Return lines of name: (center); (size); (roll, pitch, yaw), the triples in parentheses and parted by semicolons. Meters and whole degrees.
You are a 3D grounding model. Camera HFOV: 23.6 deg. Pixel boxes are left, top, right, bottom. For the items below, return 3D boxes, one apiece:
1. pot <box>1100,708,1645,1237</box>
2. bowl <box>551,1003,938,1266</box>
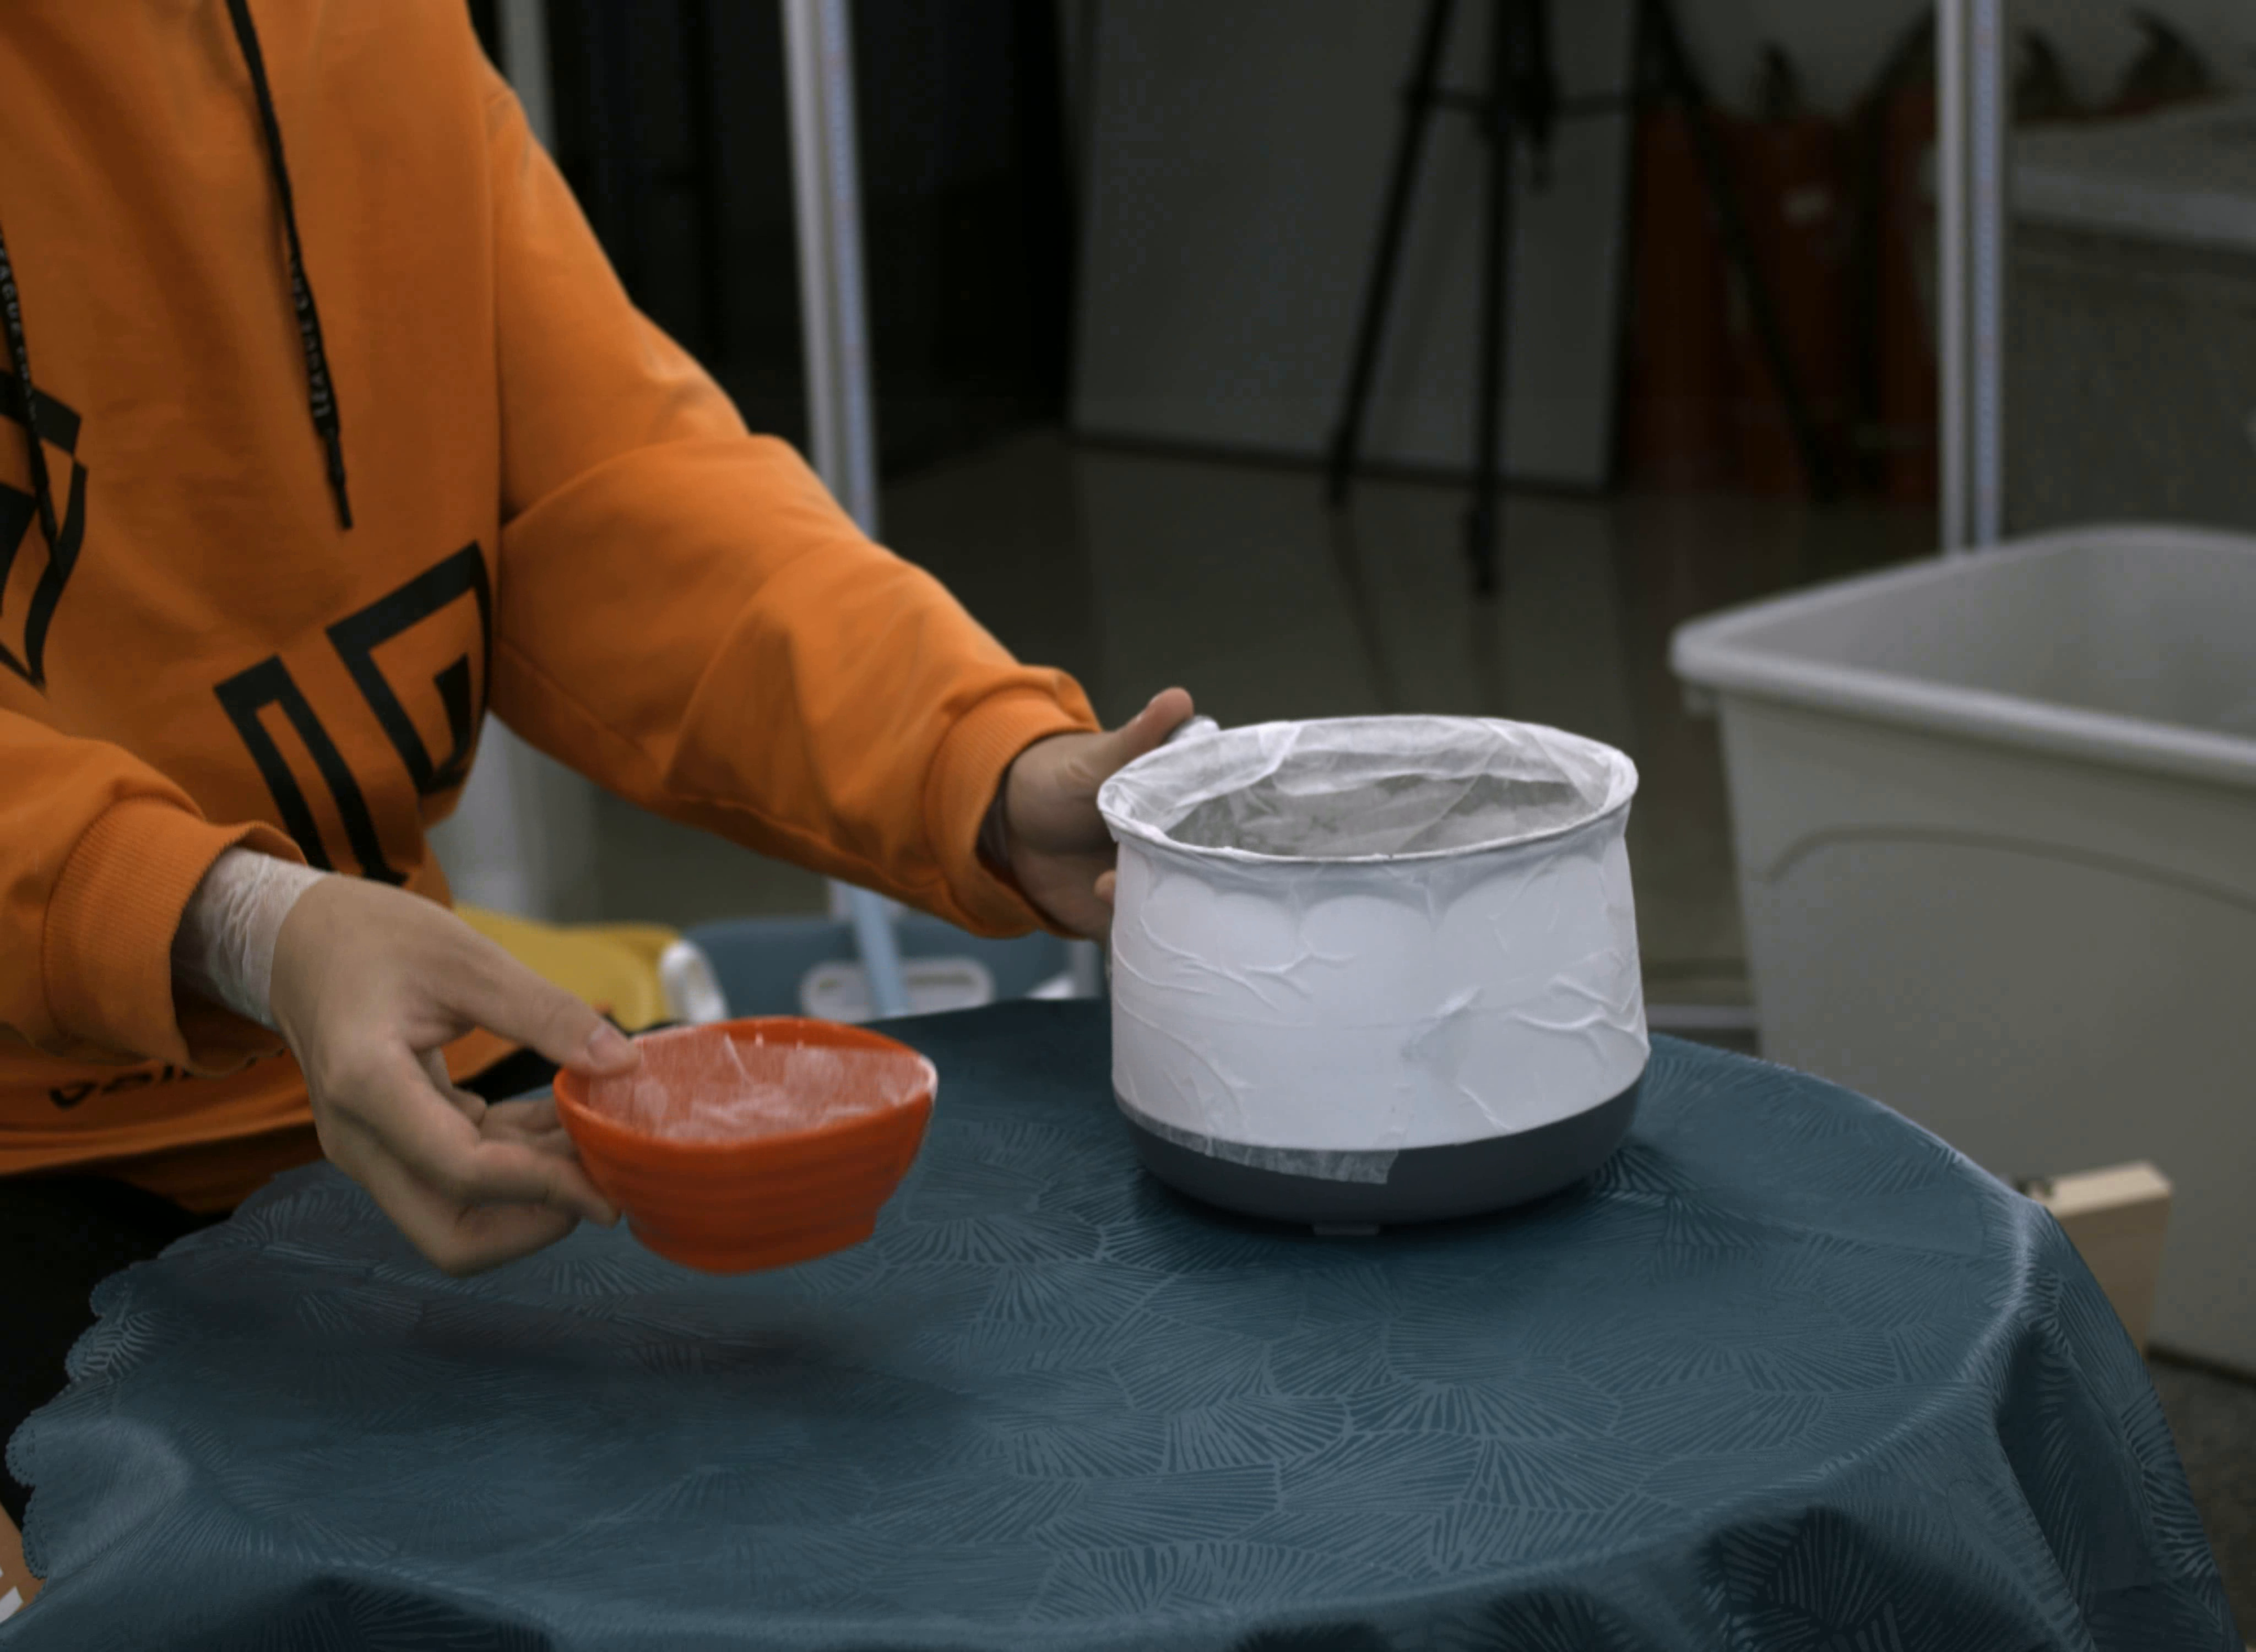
pot: (0.065, 0.041, 1.780); (0.175, 0.138, 0.236); (-12, 17, -32)
bowl: (-0.114, 0.095, 1.630); (0.117, 0.052, 0.119); (-3, 16, 0)
